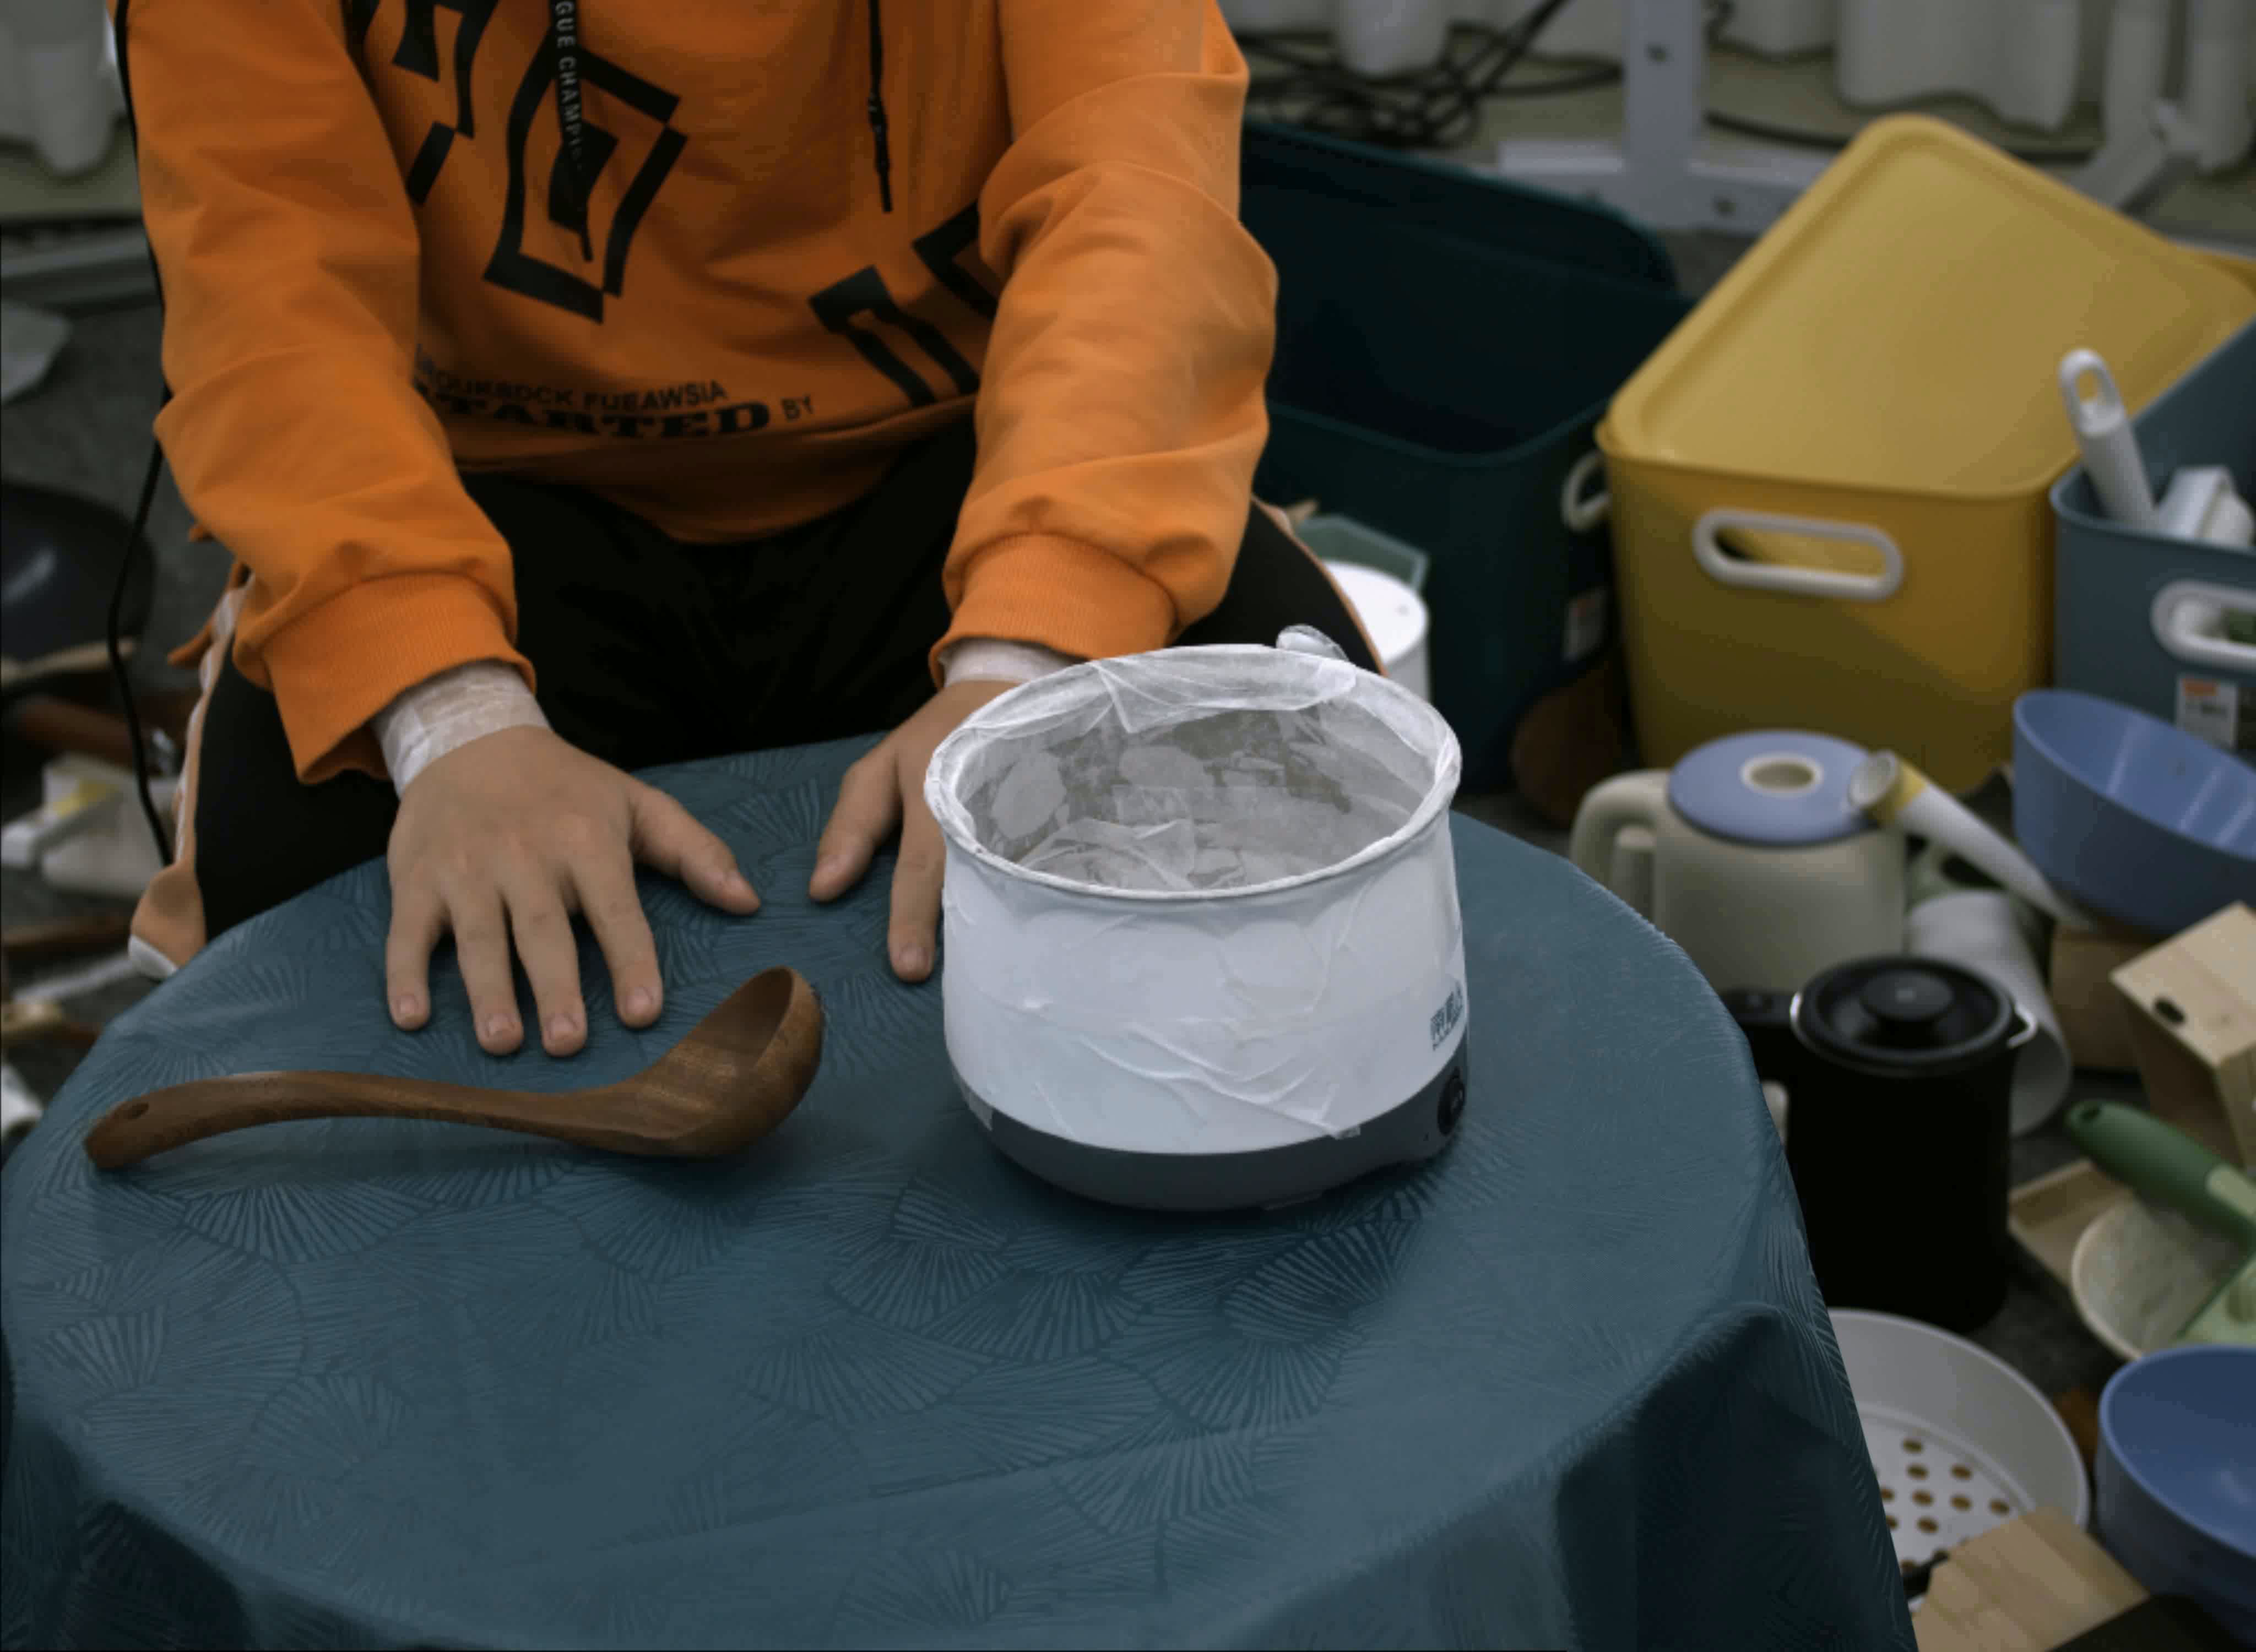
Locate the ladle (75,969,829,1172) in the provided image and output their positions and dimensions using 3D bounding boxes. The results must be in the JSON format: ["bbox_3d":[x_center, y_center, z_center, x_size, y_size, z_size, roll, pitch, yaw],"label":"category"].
[{"bbox_3d":[-0.229,0.084,1.889,0.259,0.064,0.077,-1,25,4],"label":"ladle"}]

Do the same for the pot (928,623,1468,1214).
[{"bbox_3d":[0.035,0.023,1.900,0.177,0.135,0.238,8,29,19],"label":"pot"}]
